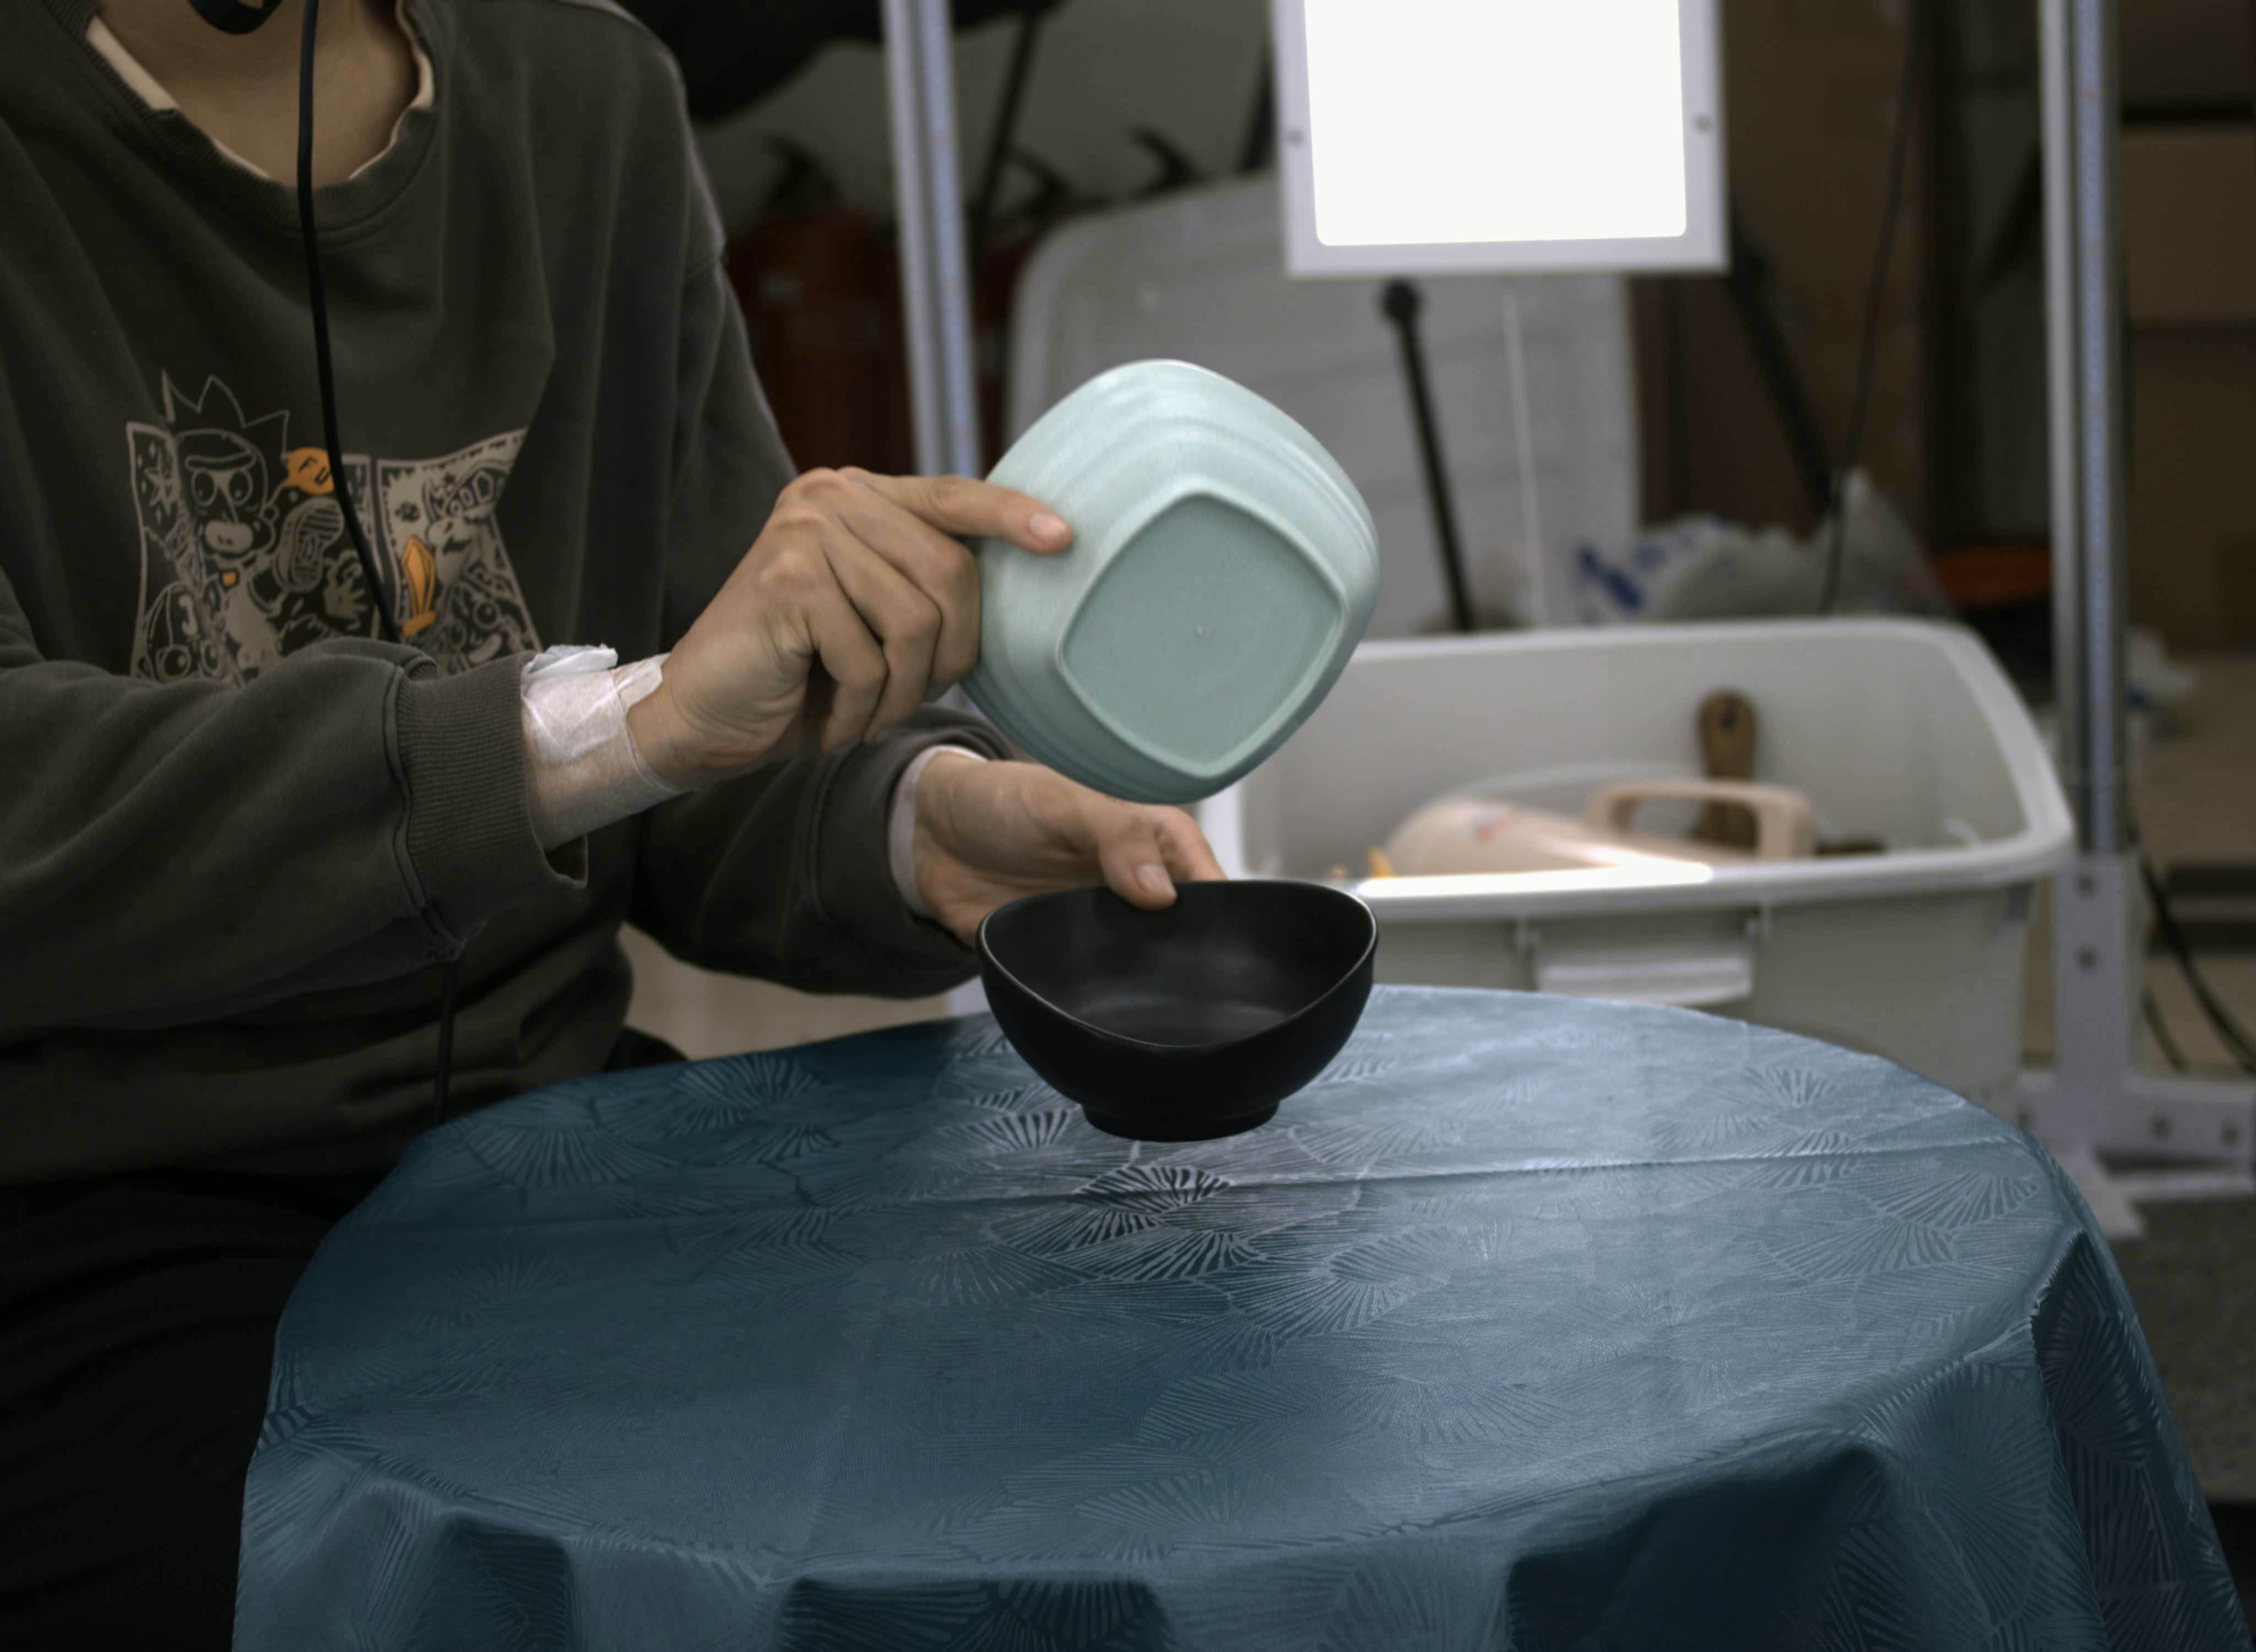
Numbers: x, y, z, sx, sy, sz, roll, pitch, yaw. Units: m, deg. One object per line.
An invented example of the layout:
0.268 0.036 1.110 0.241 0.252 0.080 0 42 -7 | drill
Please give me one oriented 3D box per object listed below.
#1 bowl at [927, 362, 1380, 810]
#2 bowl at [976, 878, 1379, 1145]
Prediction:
0.015 -0.069 1.758 0.150 0.152 0.059 -7 21 -9 | bowl
0.018 0.067 1.869 0.137 0.067 0.170 -4 17 -2 | bowl
